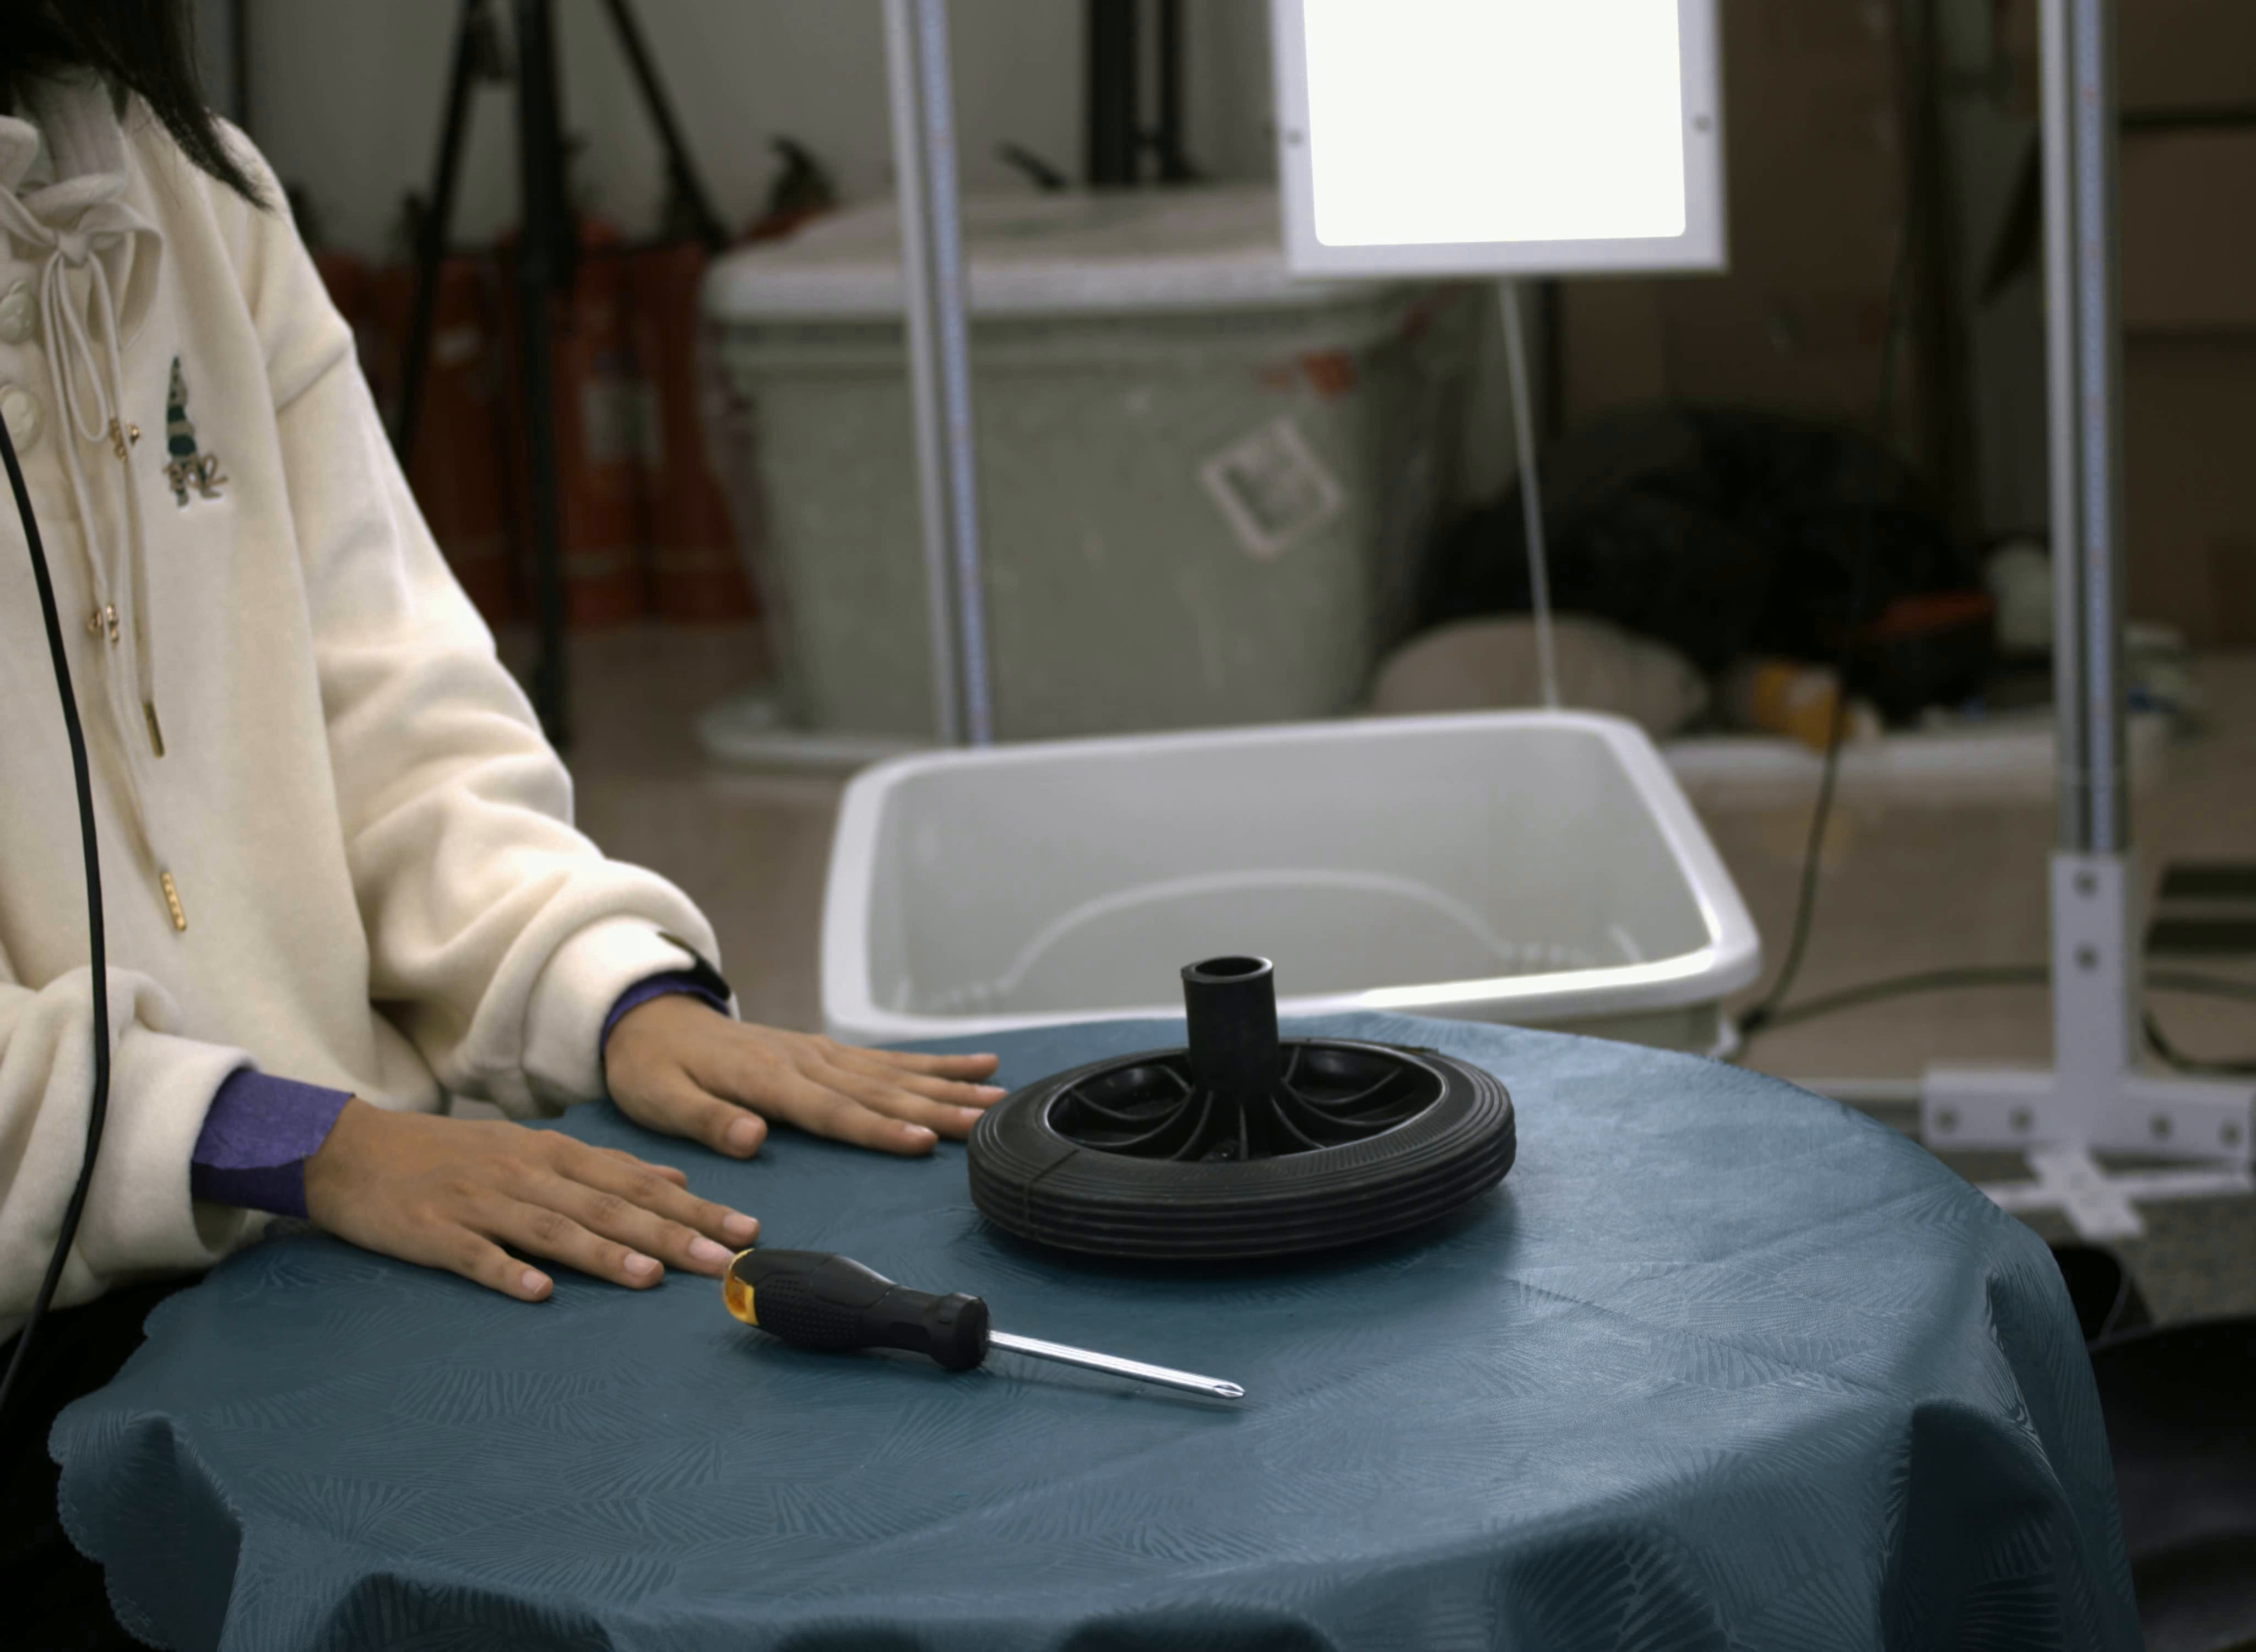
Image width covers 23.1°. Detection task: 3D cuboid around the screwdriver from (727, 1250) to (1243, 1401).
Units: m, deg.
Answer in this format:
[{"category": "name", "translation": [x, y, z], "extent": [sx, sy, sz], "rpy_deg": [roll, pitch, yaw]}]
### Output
[{"category": "screwdriver", "translation": [-0.044, 0.158, 1.733], "extent": [0.200, 0.031, 0.031], "rpy_deg": [6, 17, 33]}]

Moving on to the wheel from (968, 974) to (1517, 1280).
[{"category": "wheel", "translation": [0.037, 0.093, 1.869], "extent": [0.186, 0.079, 0.190], "rpy_deg": [-6, 15, -2]}]
